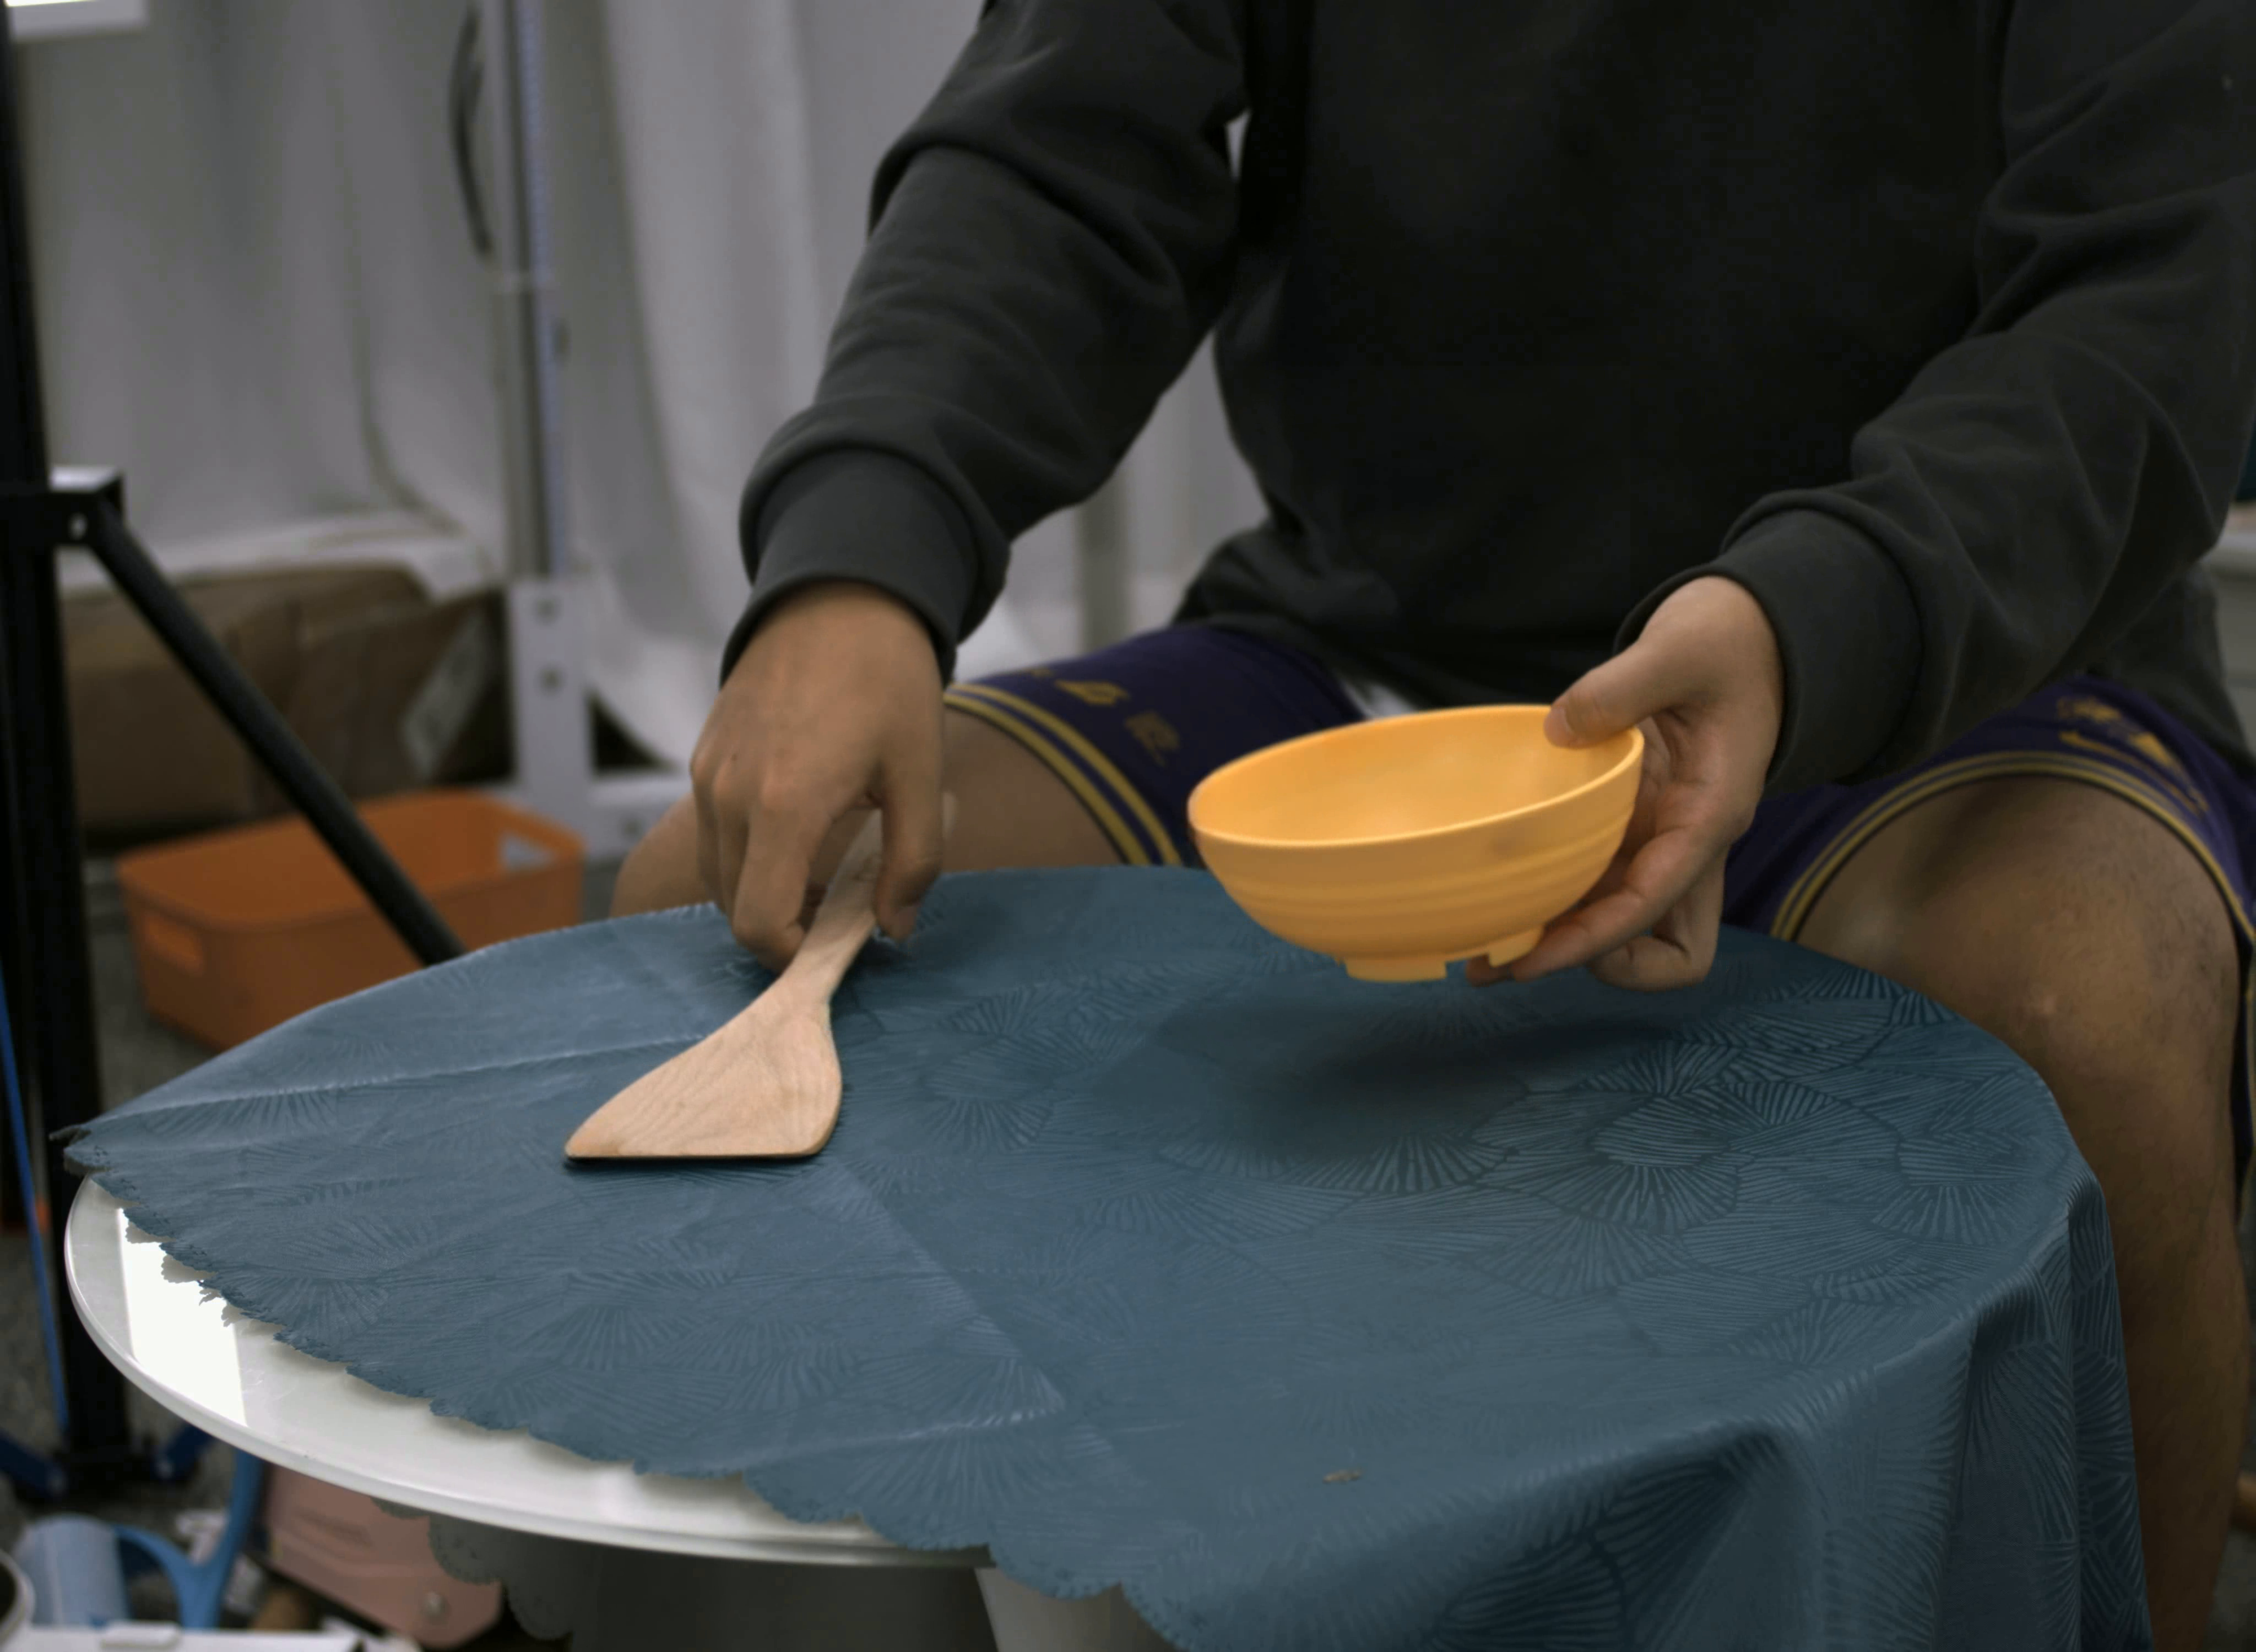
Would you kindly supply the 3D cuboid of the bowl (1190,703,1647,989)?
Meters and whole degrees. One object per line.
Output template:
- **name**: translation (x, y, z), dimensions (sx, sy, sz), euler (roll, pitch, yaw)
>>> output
- **bowl**: translation (0.094, 0.012, 1.653), dimensions (0.145, 0.060, 0.146), euler (-10, 16, 1)

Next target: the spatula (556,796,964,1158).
- **spatula**: translation (-0.102, 0.047, 1.740), dimensions (0.080, 0.016, 0.326), euler (1, 22, 13)
